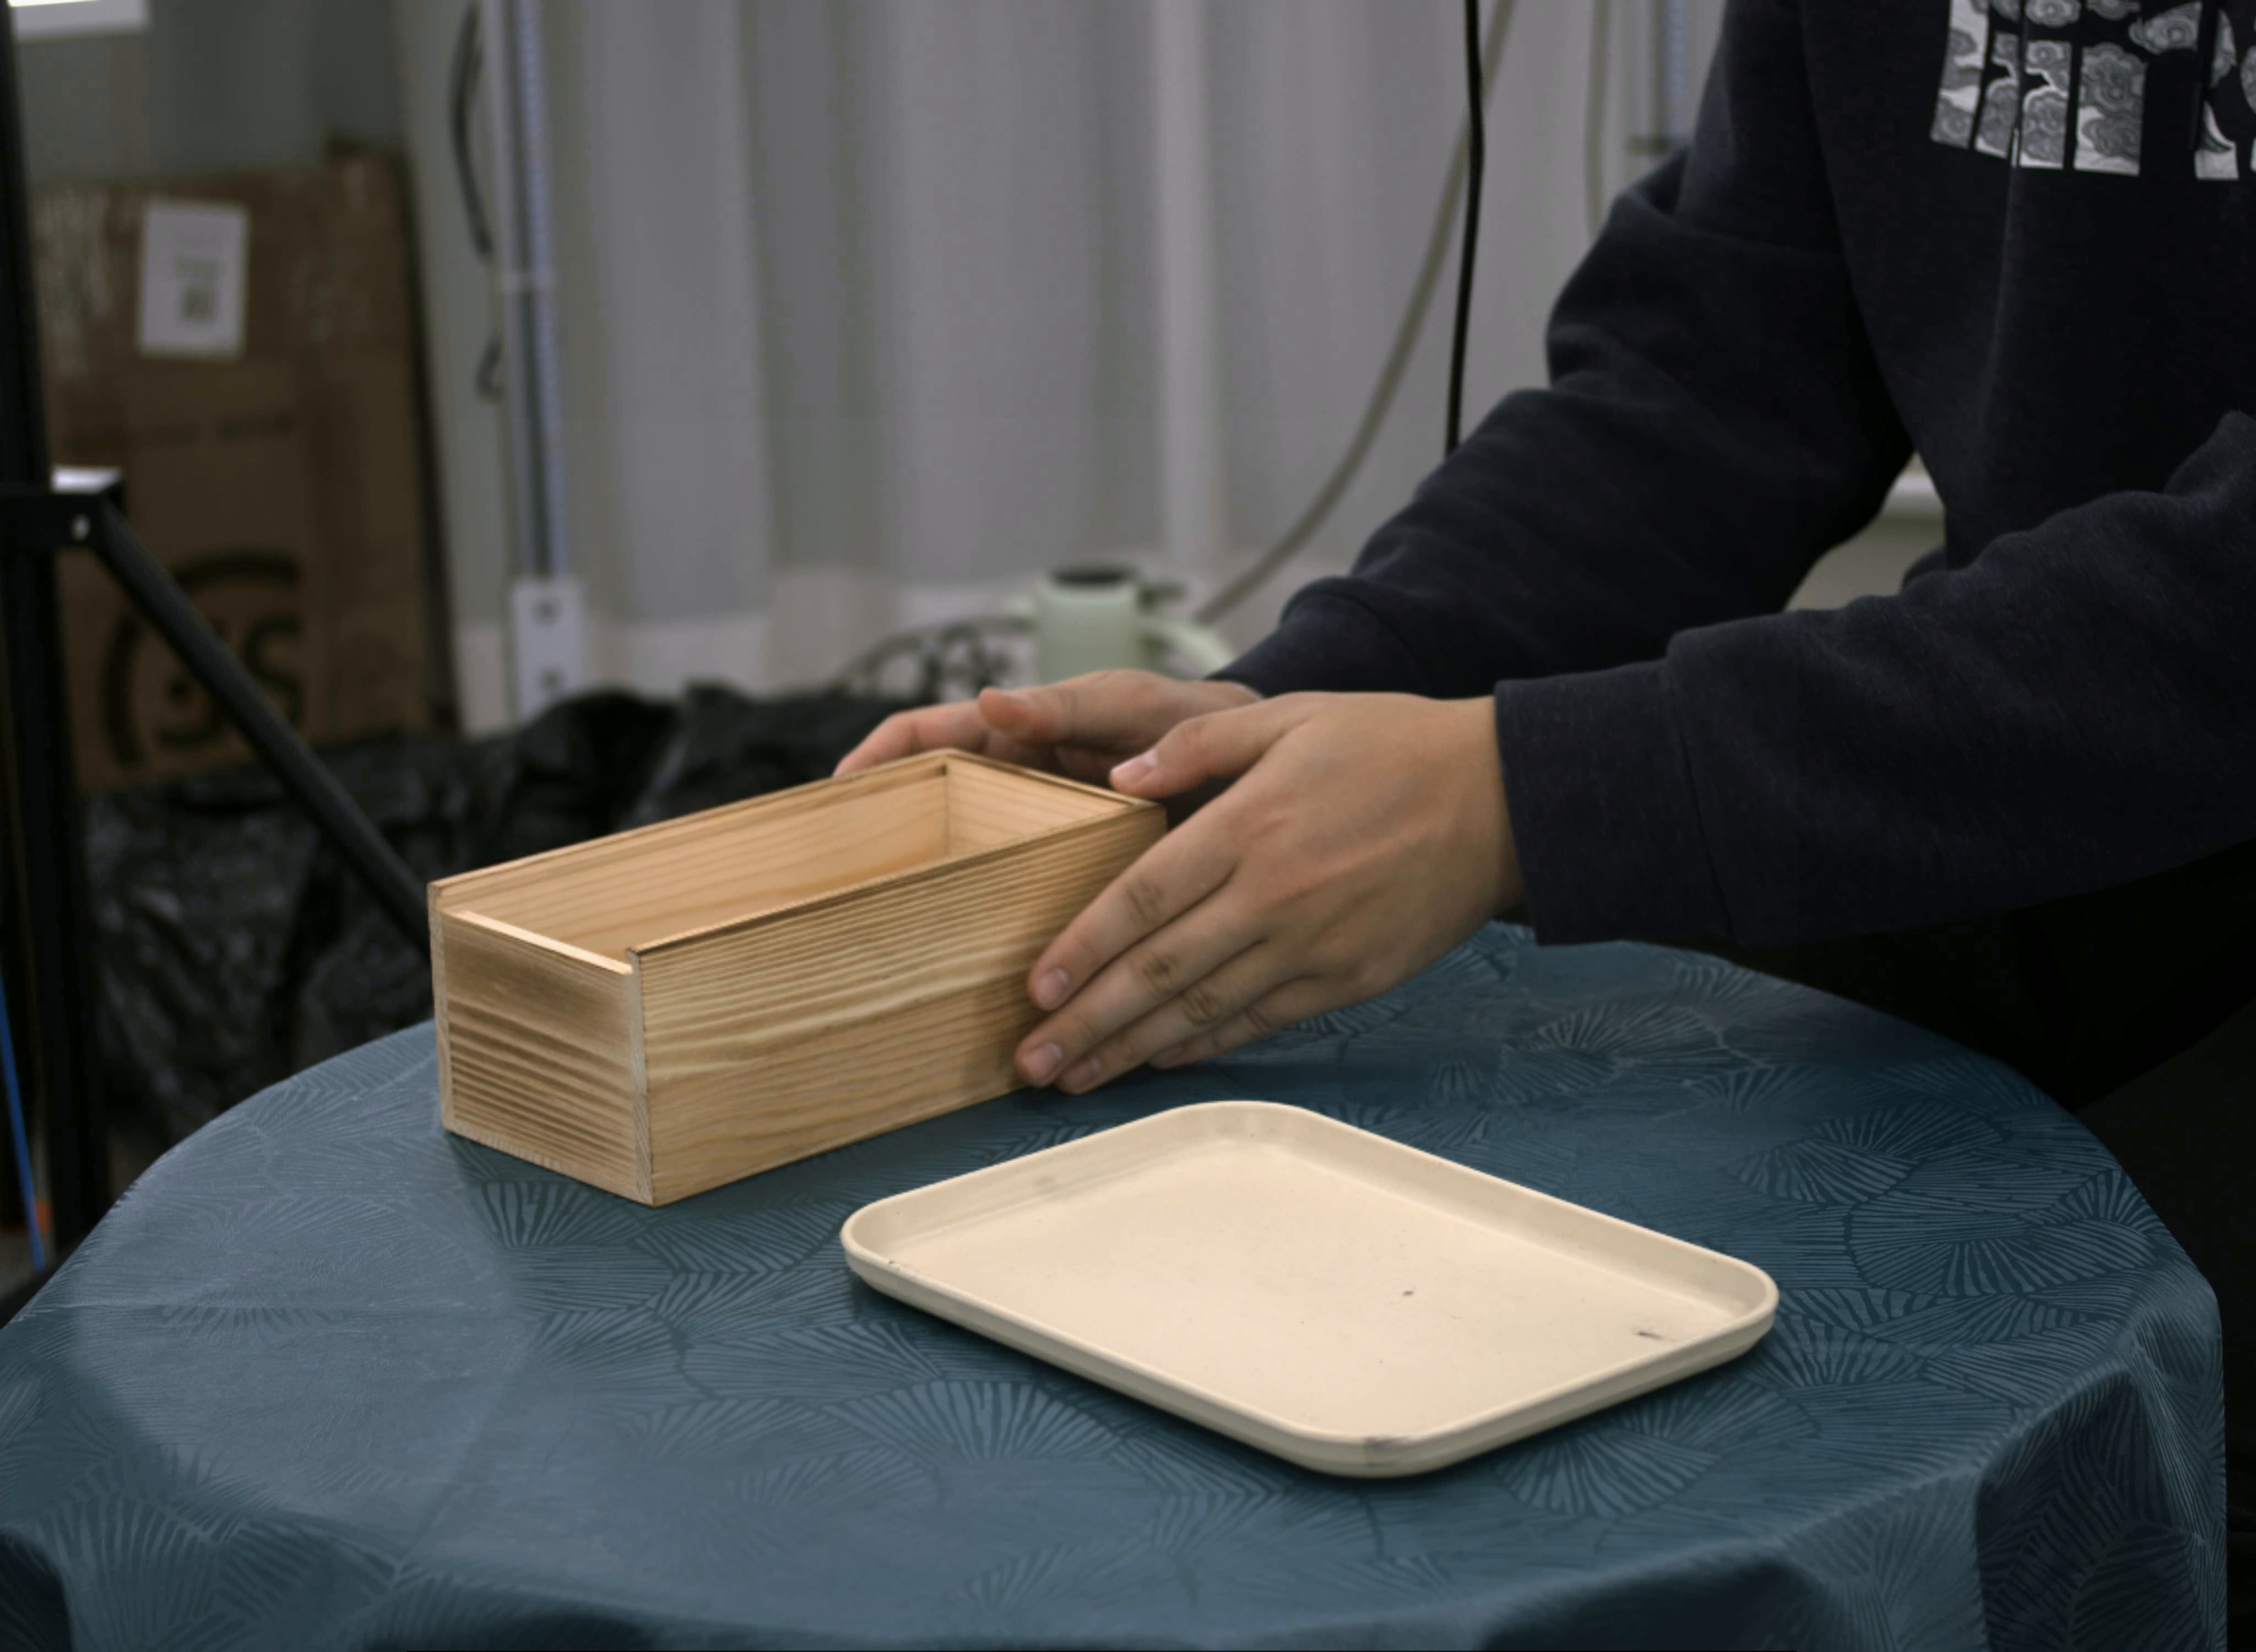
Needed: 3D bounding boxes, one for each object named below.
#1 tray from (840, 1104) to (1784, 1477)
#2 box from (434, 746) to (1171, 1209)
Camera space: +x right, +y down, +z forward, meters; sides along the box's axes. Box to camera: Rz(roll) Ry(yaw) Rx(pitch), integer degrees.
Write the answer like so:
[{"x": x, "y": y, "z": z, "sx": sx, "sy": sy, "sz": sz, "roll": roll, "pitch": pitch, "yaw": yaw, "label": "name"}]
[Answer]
[{"x": 0.048, "y": 0.126, "z": 1.456, "sx": 0.167, "sy": 0.017, "sz": 0.245, "roll": -14, "pitch": 19, "yaw": -37, "label": "tray"}, {"x": -0.098, "y": 0.043, "z": 1.655, "sx": 0.206, "sy": 0.080, "sz": 0.110, "roll": -16, "pitch": 21, "yaw": -40, "label": "box"}]
